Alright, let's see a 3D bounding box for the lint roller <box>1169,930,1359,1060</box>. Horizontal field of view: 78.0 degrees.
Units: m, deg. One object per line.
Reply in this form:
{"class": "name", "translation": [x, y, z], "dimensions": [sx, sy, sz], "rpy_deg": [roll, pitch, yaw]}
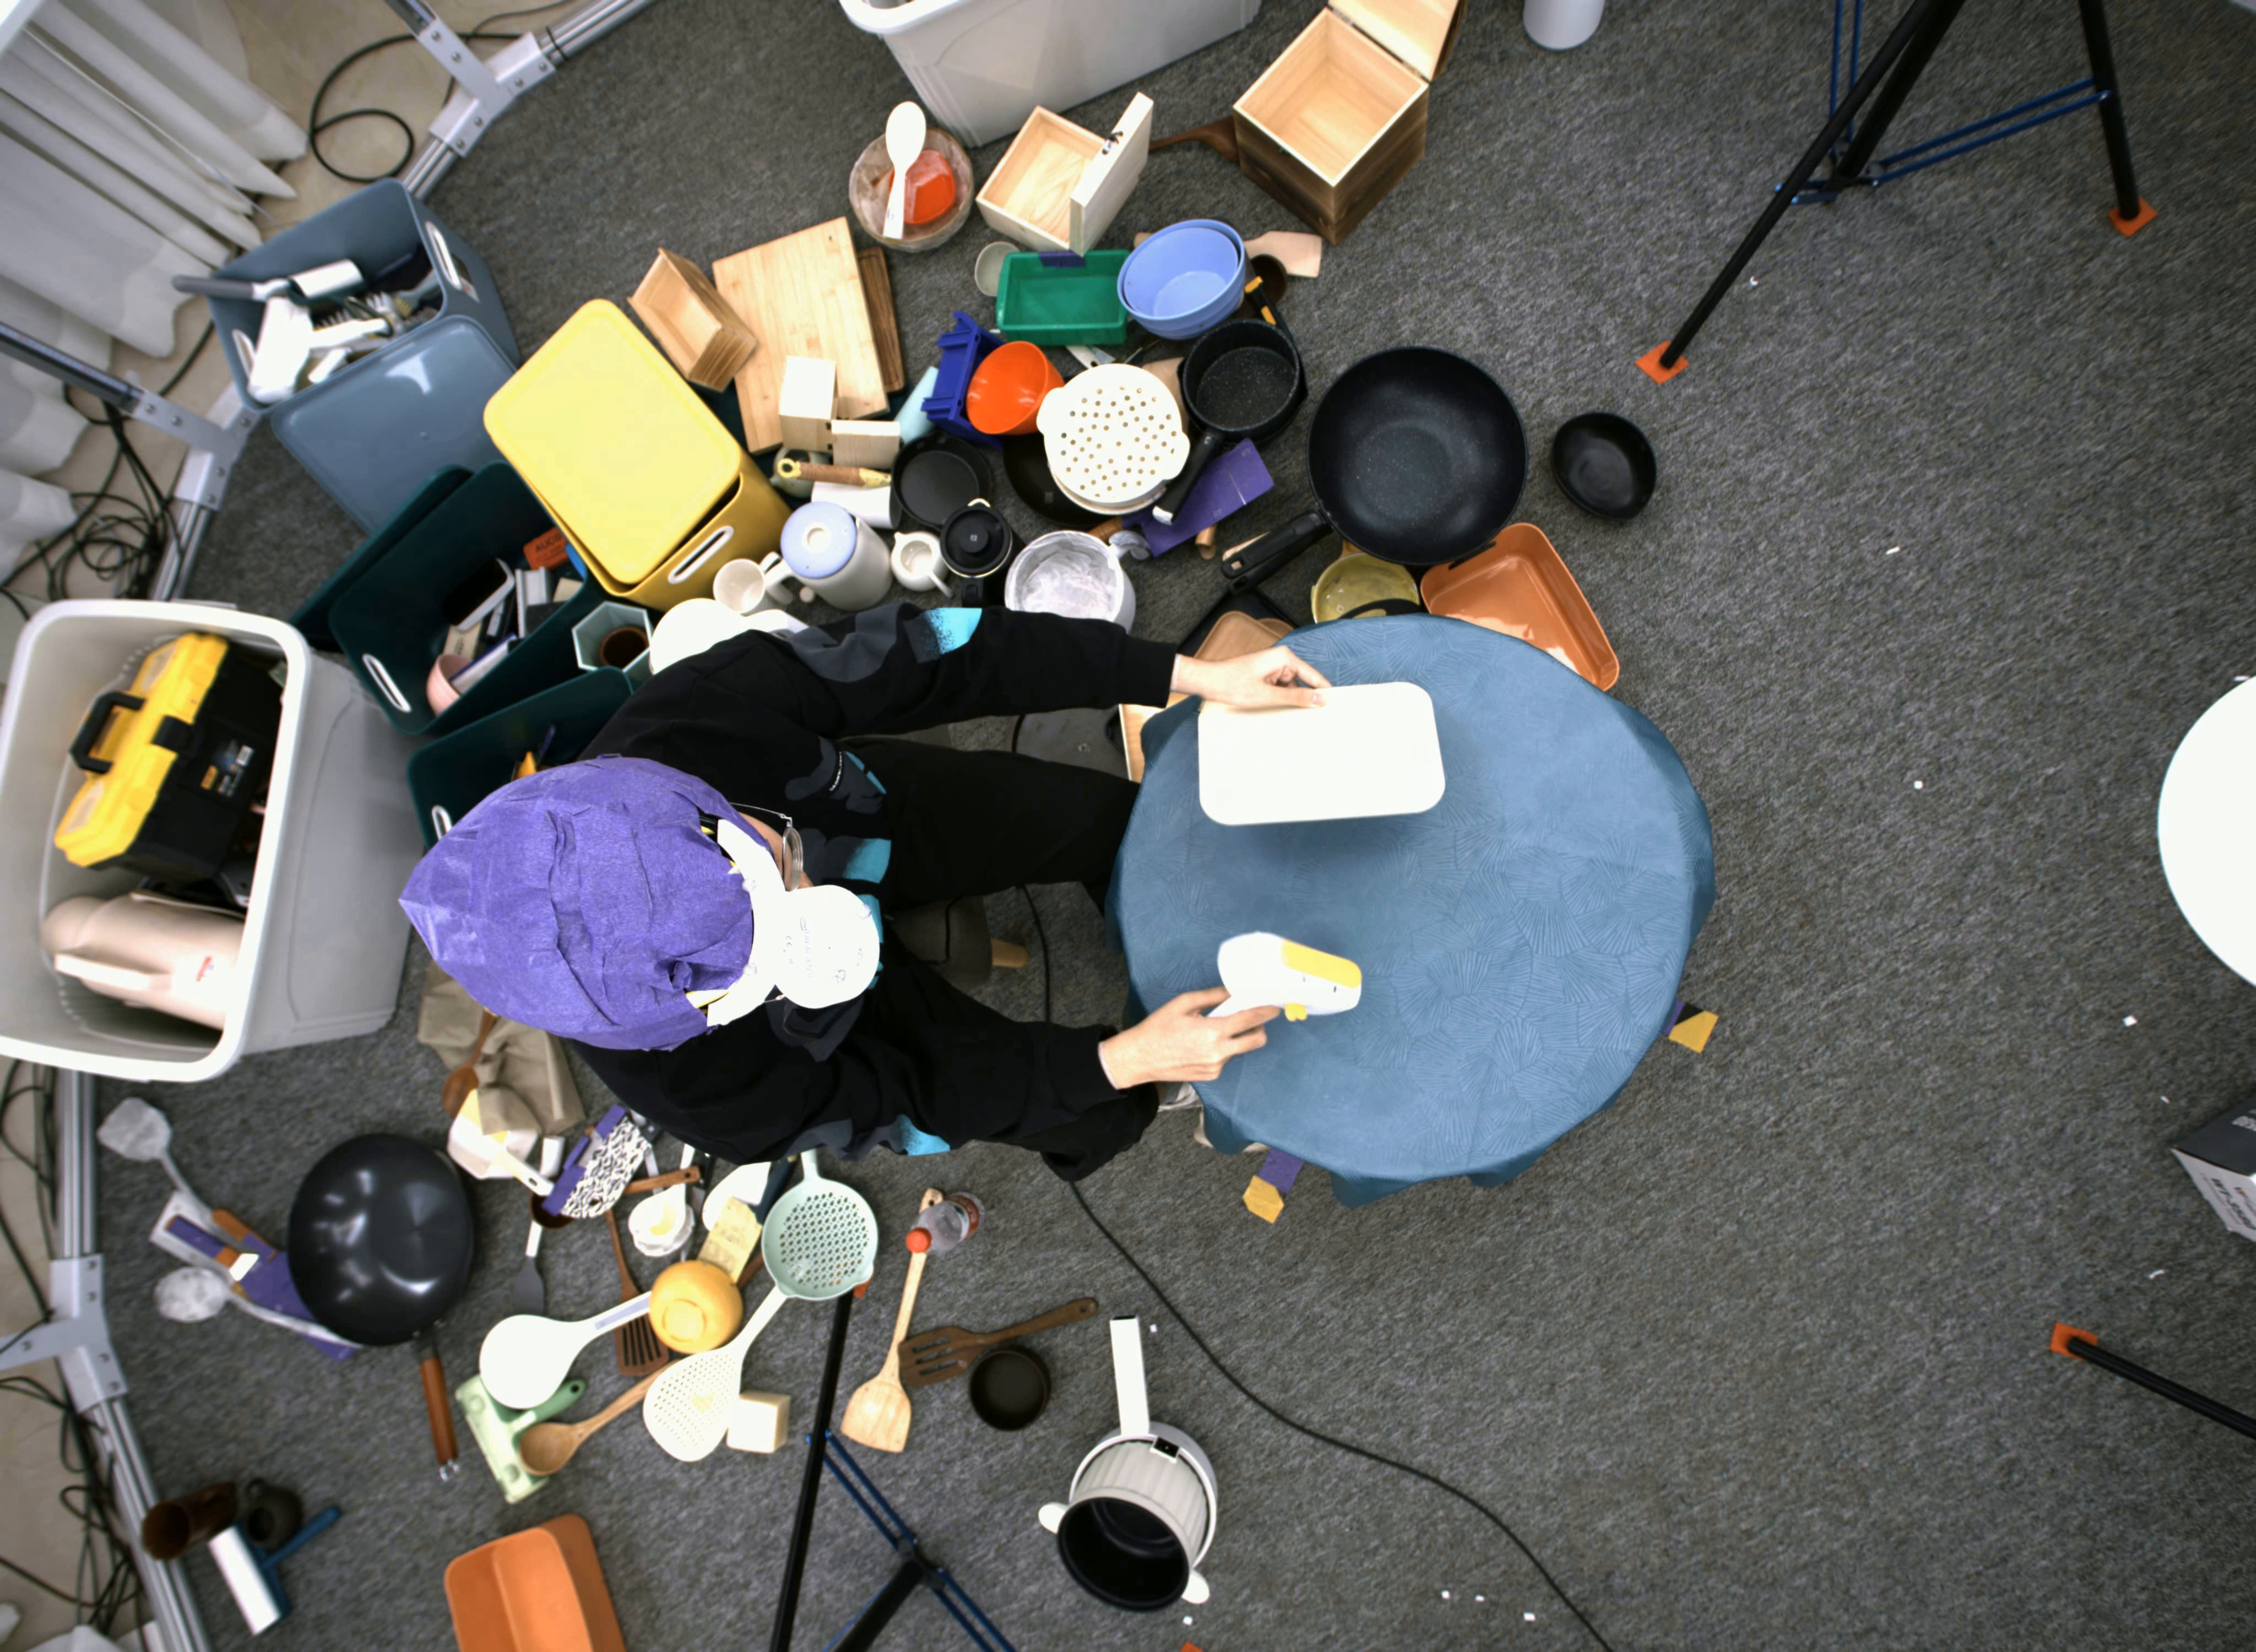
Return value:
{"class": "lint roller", "translation": [0.113, 0.172, 1.372], "dimensions": [0.196, 0.193, 0.073], "rpy_deg": [-30, 60, 34]}

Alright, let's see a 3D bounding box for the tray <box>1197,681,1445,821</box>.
{"class": "tray", "translation": [0.189, -0.075, 1.375], "dimensions": [0.240, 0.018, 0.167], "rpy_deg": [-4, 51, 8]}
